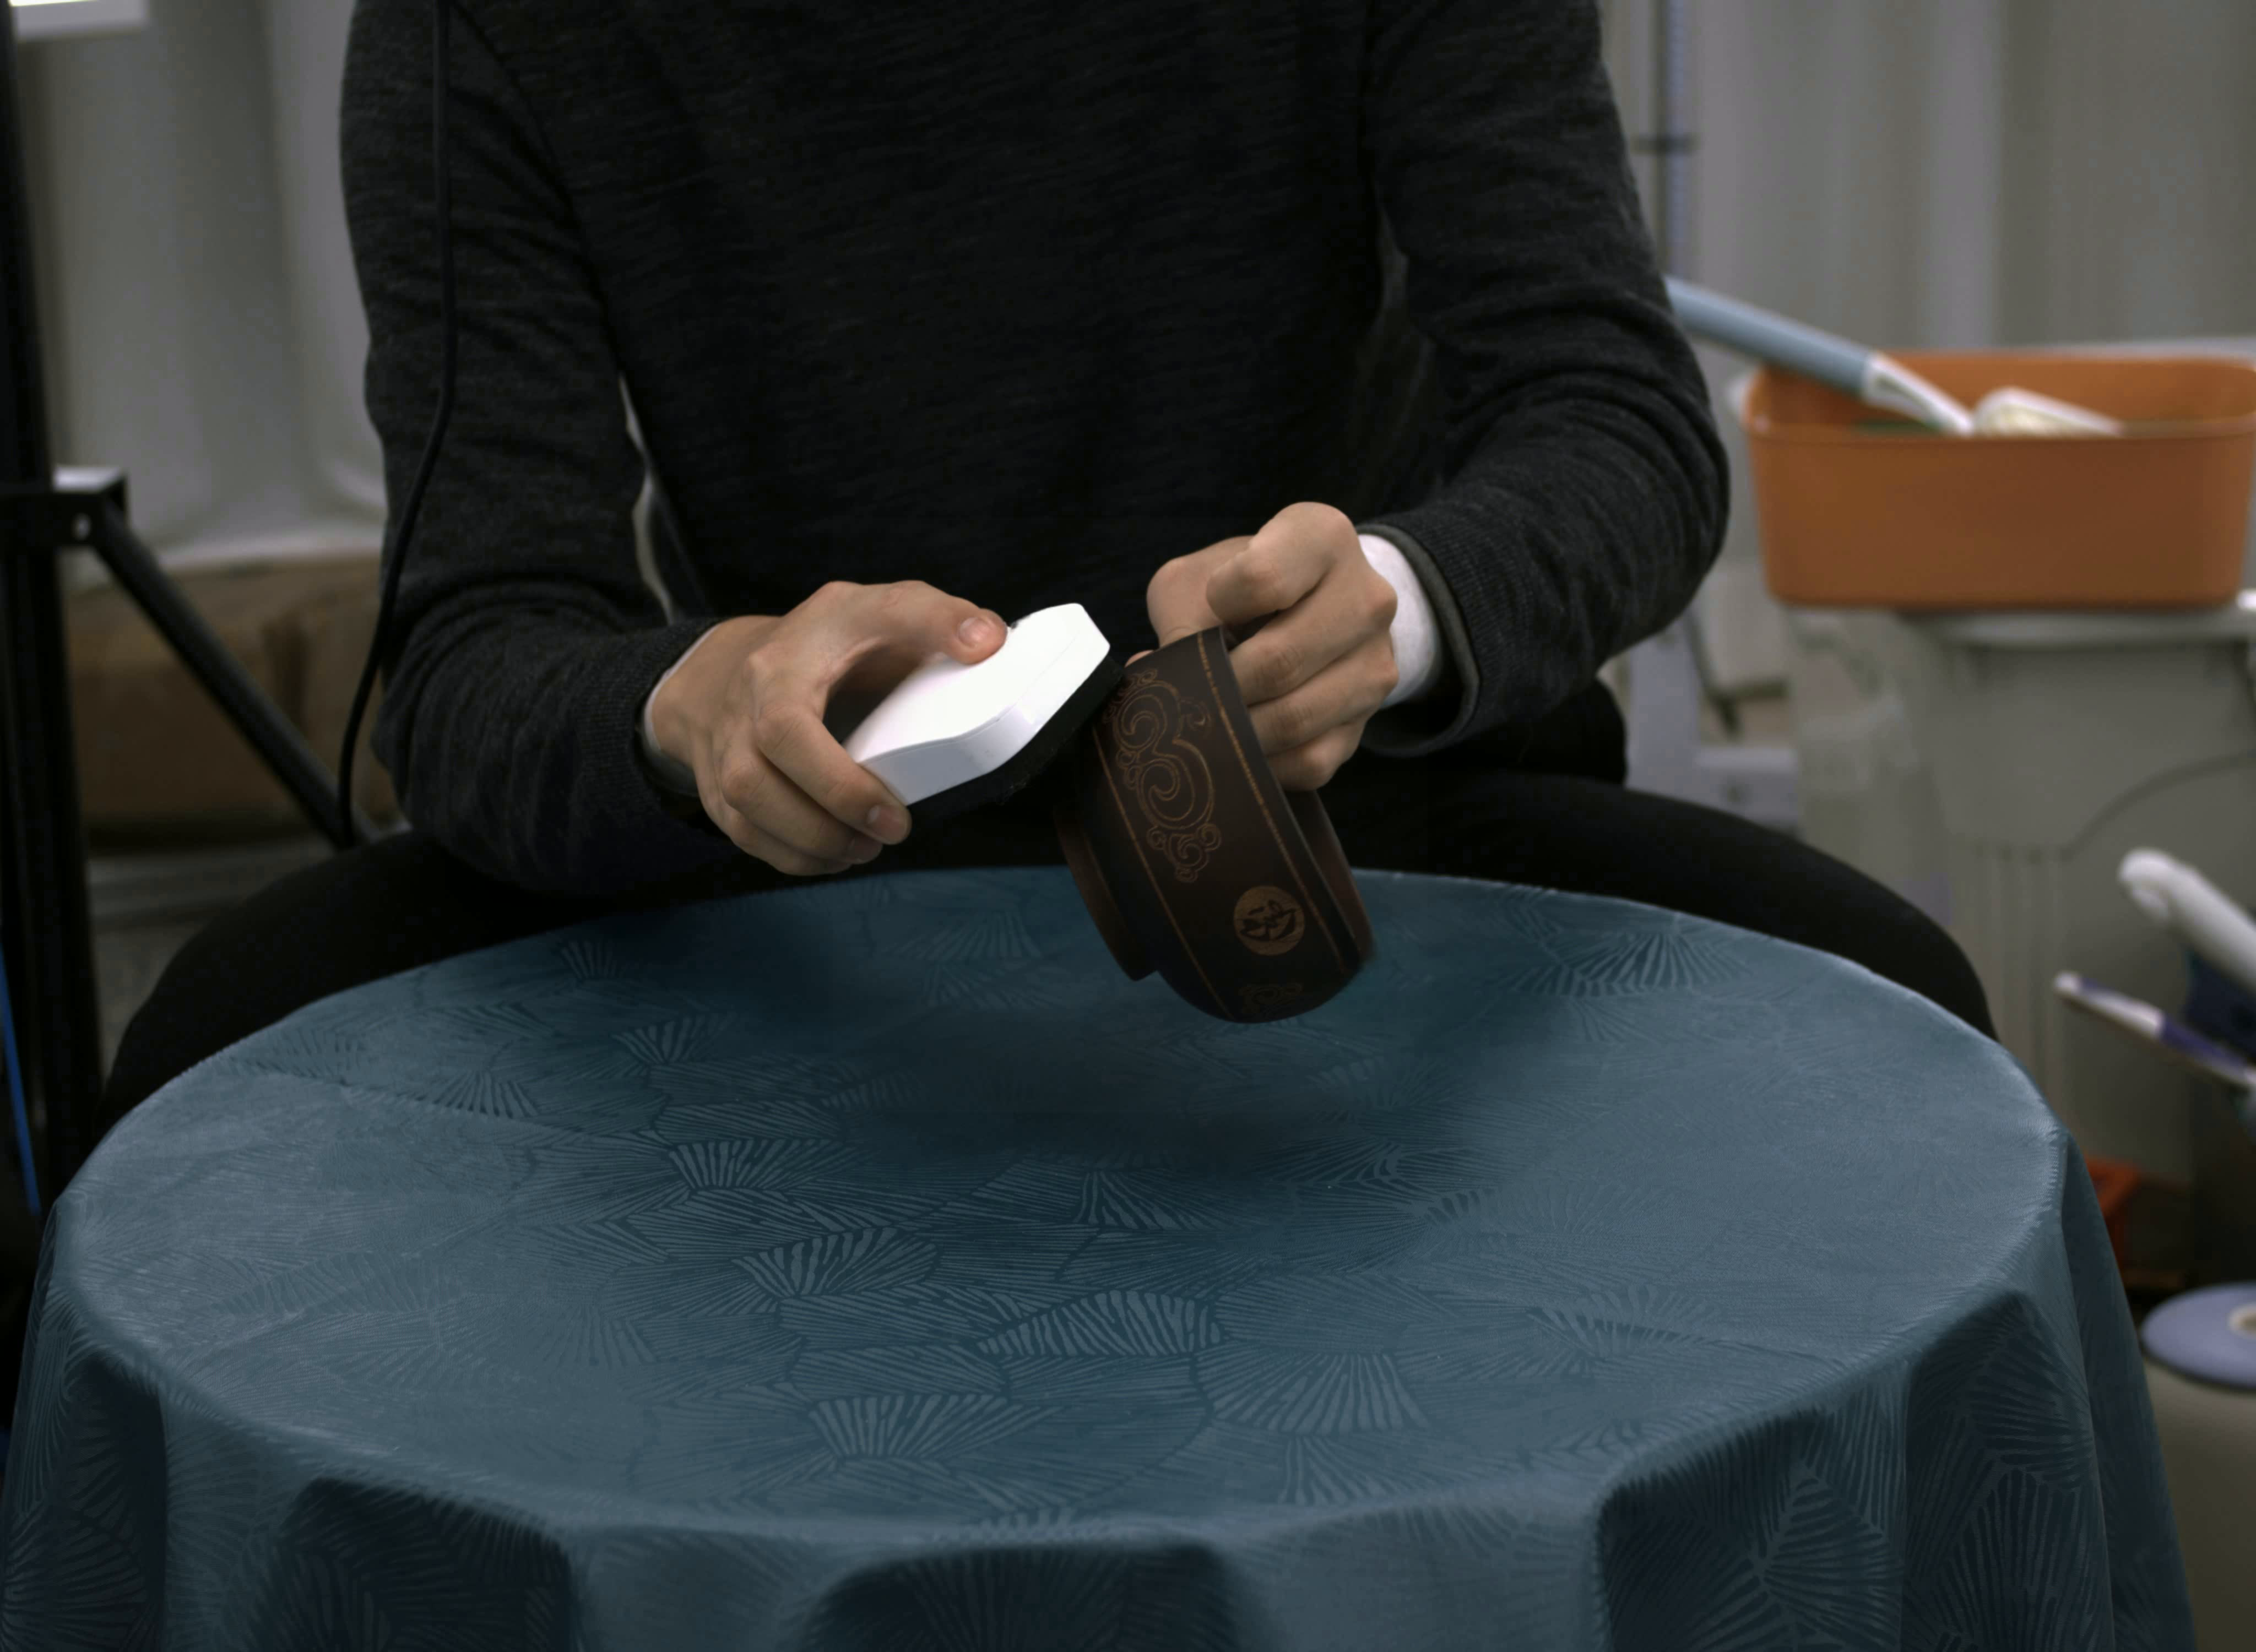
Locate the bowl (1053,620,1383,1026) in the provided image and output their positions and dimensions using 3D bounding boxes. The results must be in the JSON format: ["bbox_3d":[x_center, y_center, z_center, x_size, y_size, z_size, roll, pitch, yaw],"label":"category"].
[{"bbox_3d":[0.021,0.006,1.563,0.070,0.117,0.118,-26,14,7],"label":"bowl"}]

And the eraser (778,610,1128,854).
[{"bbox_3d":[-0.053,-0.029,1.579,0.063,0.034,0.133,-47,16,-29],"label":"eraser"}]
